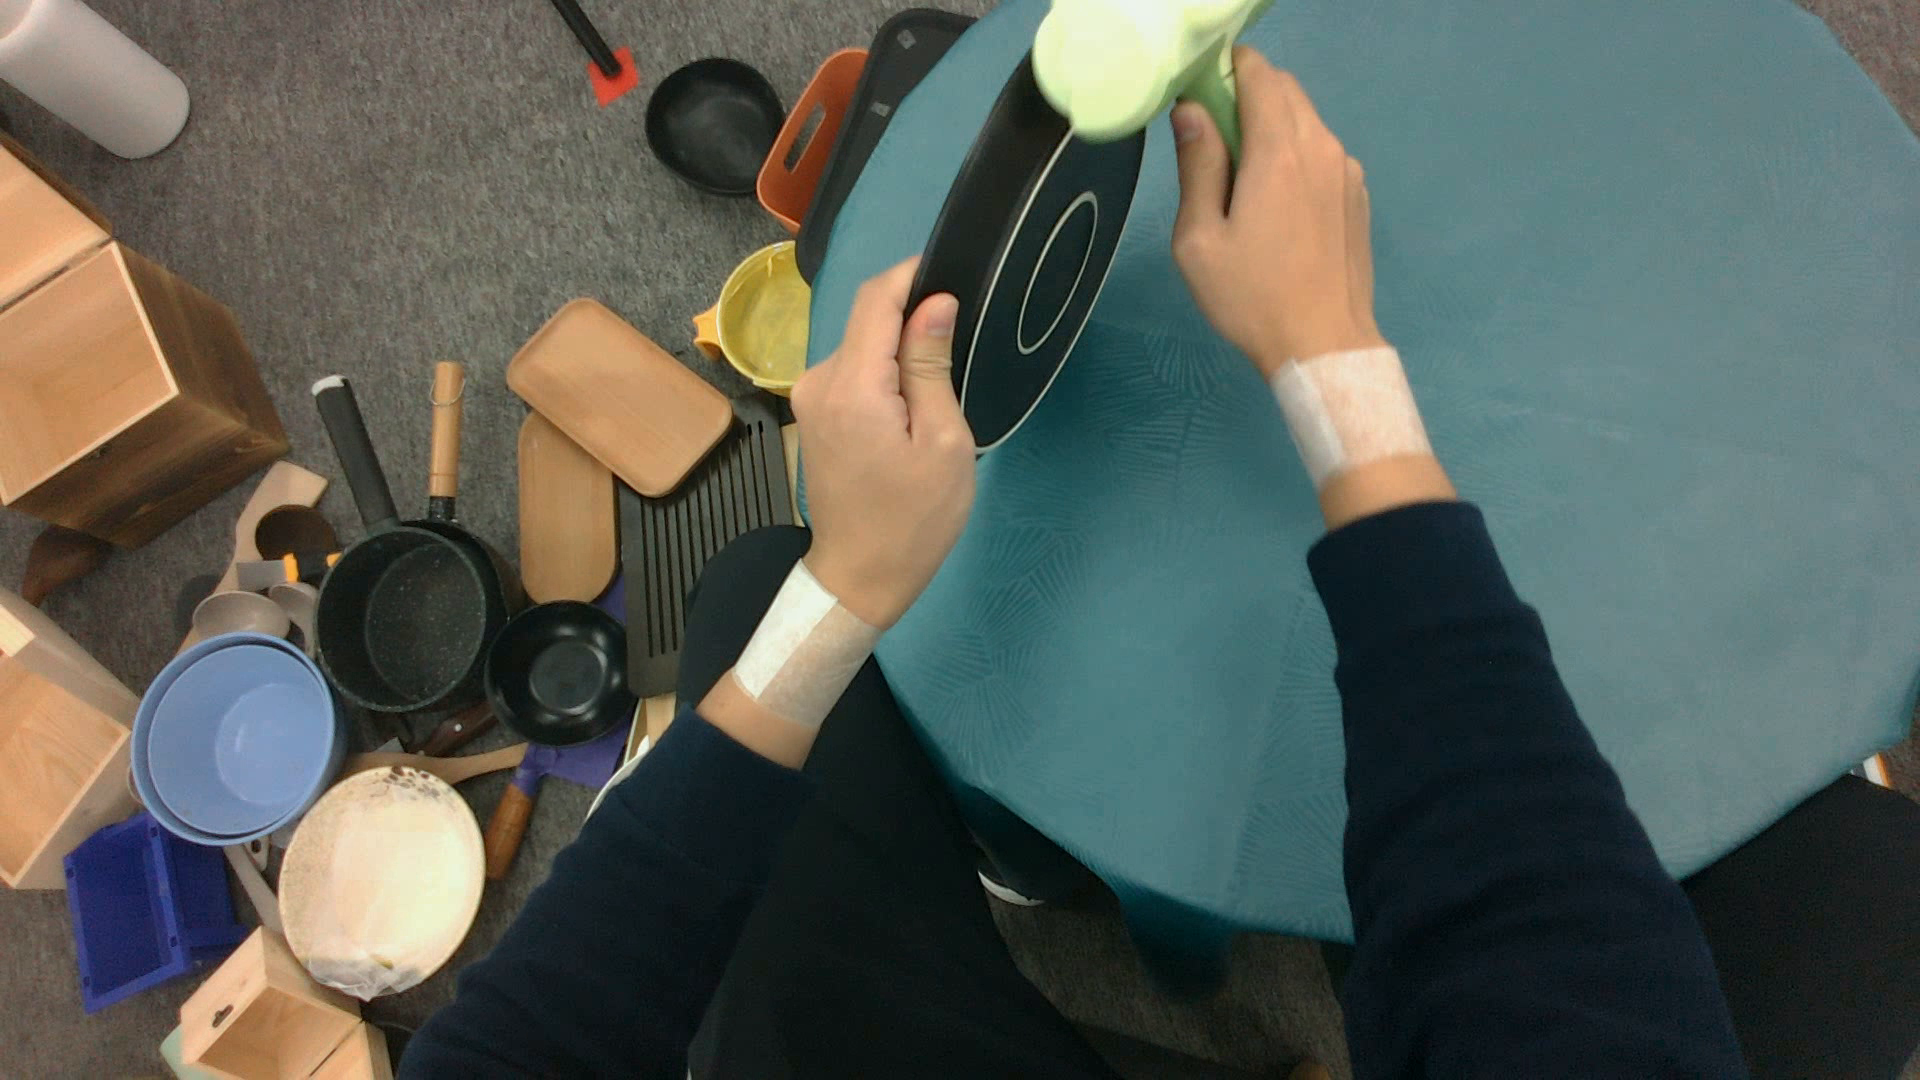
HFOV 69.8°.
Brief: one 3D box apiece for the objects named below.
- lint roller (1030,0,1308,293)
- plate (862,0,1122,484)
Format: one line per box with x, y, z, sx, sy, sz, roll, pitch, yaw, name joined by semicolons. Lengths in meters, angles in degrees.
0.120;-0.196;0.590;0.082;0.199;0.183;-29;106;36;lint roller
0.025;-0.133;0.631;0.023;0.244;0.245;25;81;13;plate
